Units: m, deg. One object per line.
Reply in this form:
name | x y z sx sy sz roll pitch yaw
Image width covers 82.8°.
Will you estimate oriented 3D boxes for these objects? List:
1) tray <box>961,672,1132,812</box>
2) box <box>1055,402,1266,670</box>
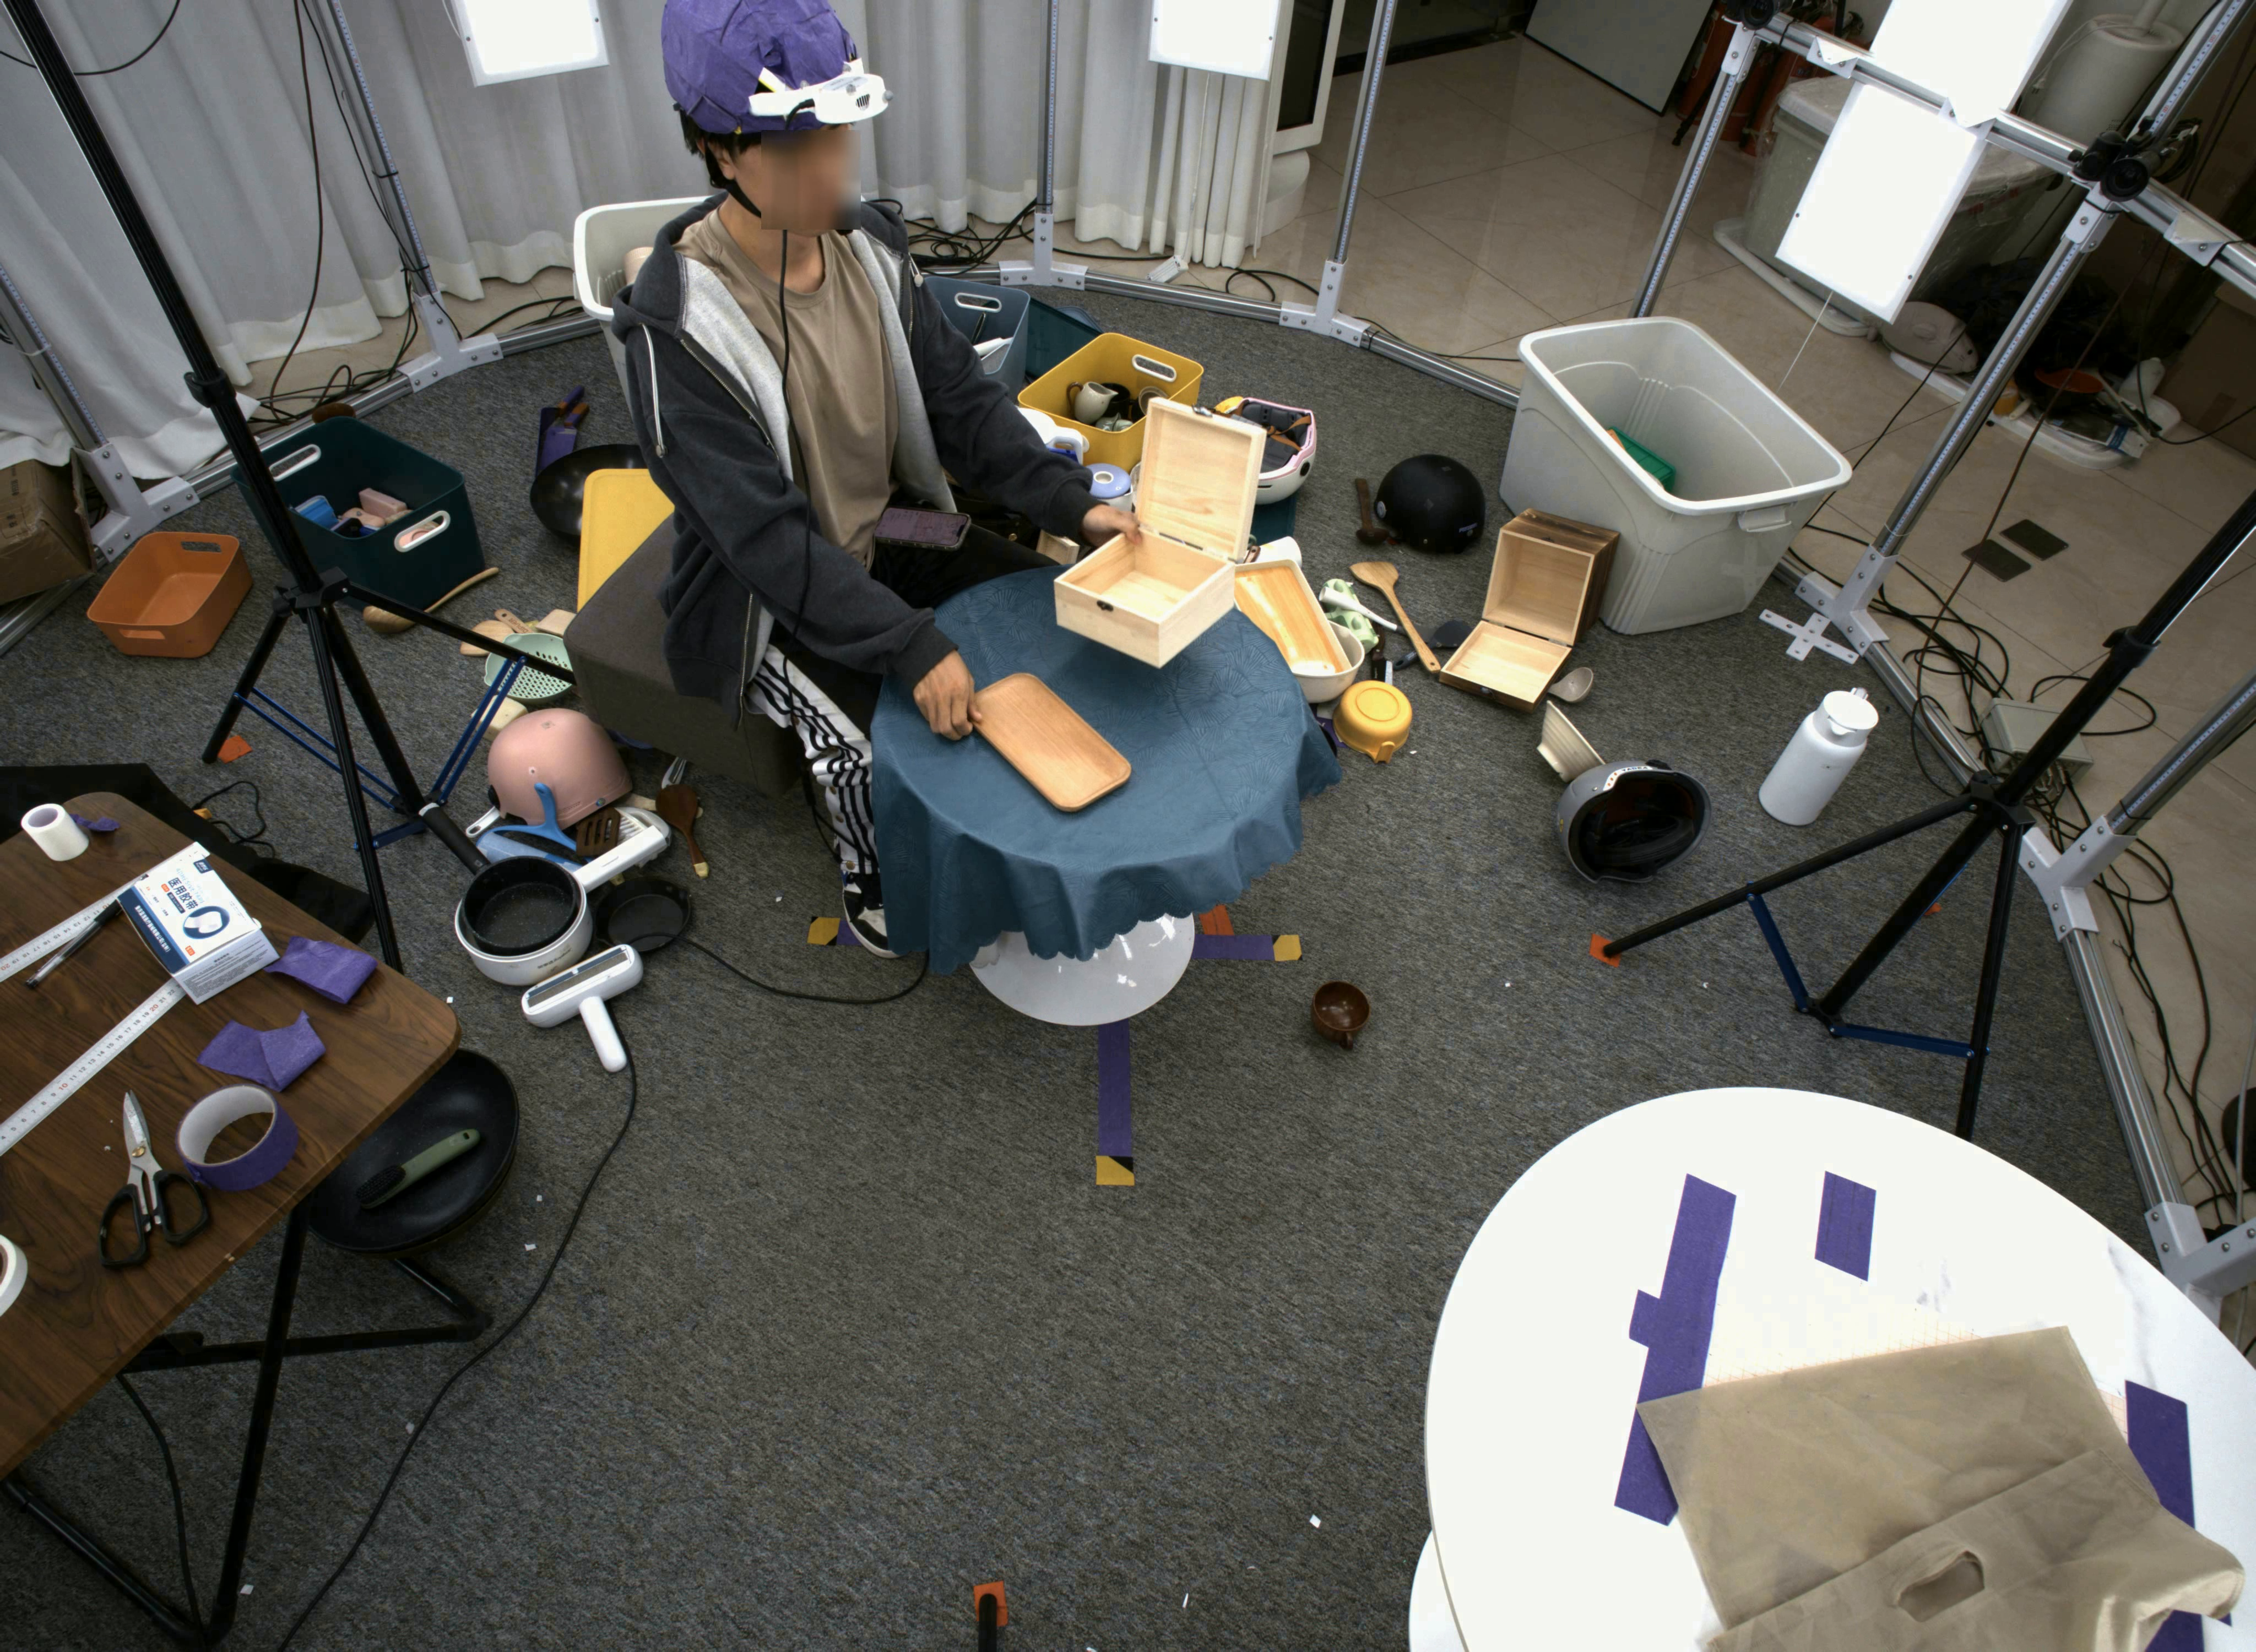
tray | -0.113 -0.117 1.748 0.131 0.022 0.255 -28 56 -29
box | 0.042 -0.406 1.777 0.184 0.247 0.268 23 47 29
